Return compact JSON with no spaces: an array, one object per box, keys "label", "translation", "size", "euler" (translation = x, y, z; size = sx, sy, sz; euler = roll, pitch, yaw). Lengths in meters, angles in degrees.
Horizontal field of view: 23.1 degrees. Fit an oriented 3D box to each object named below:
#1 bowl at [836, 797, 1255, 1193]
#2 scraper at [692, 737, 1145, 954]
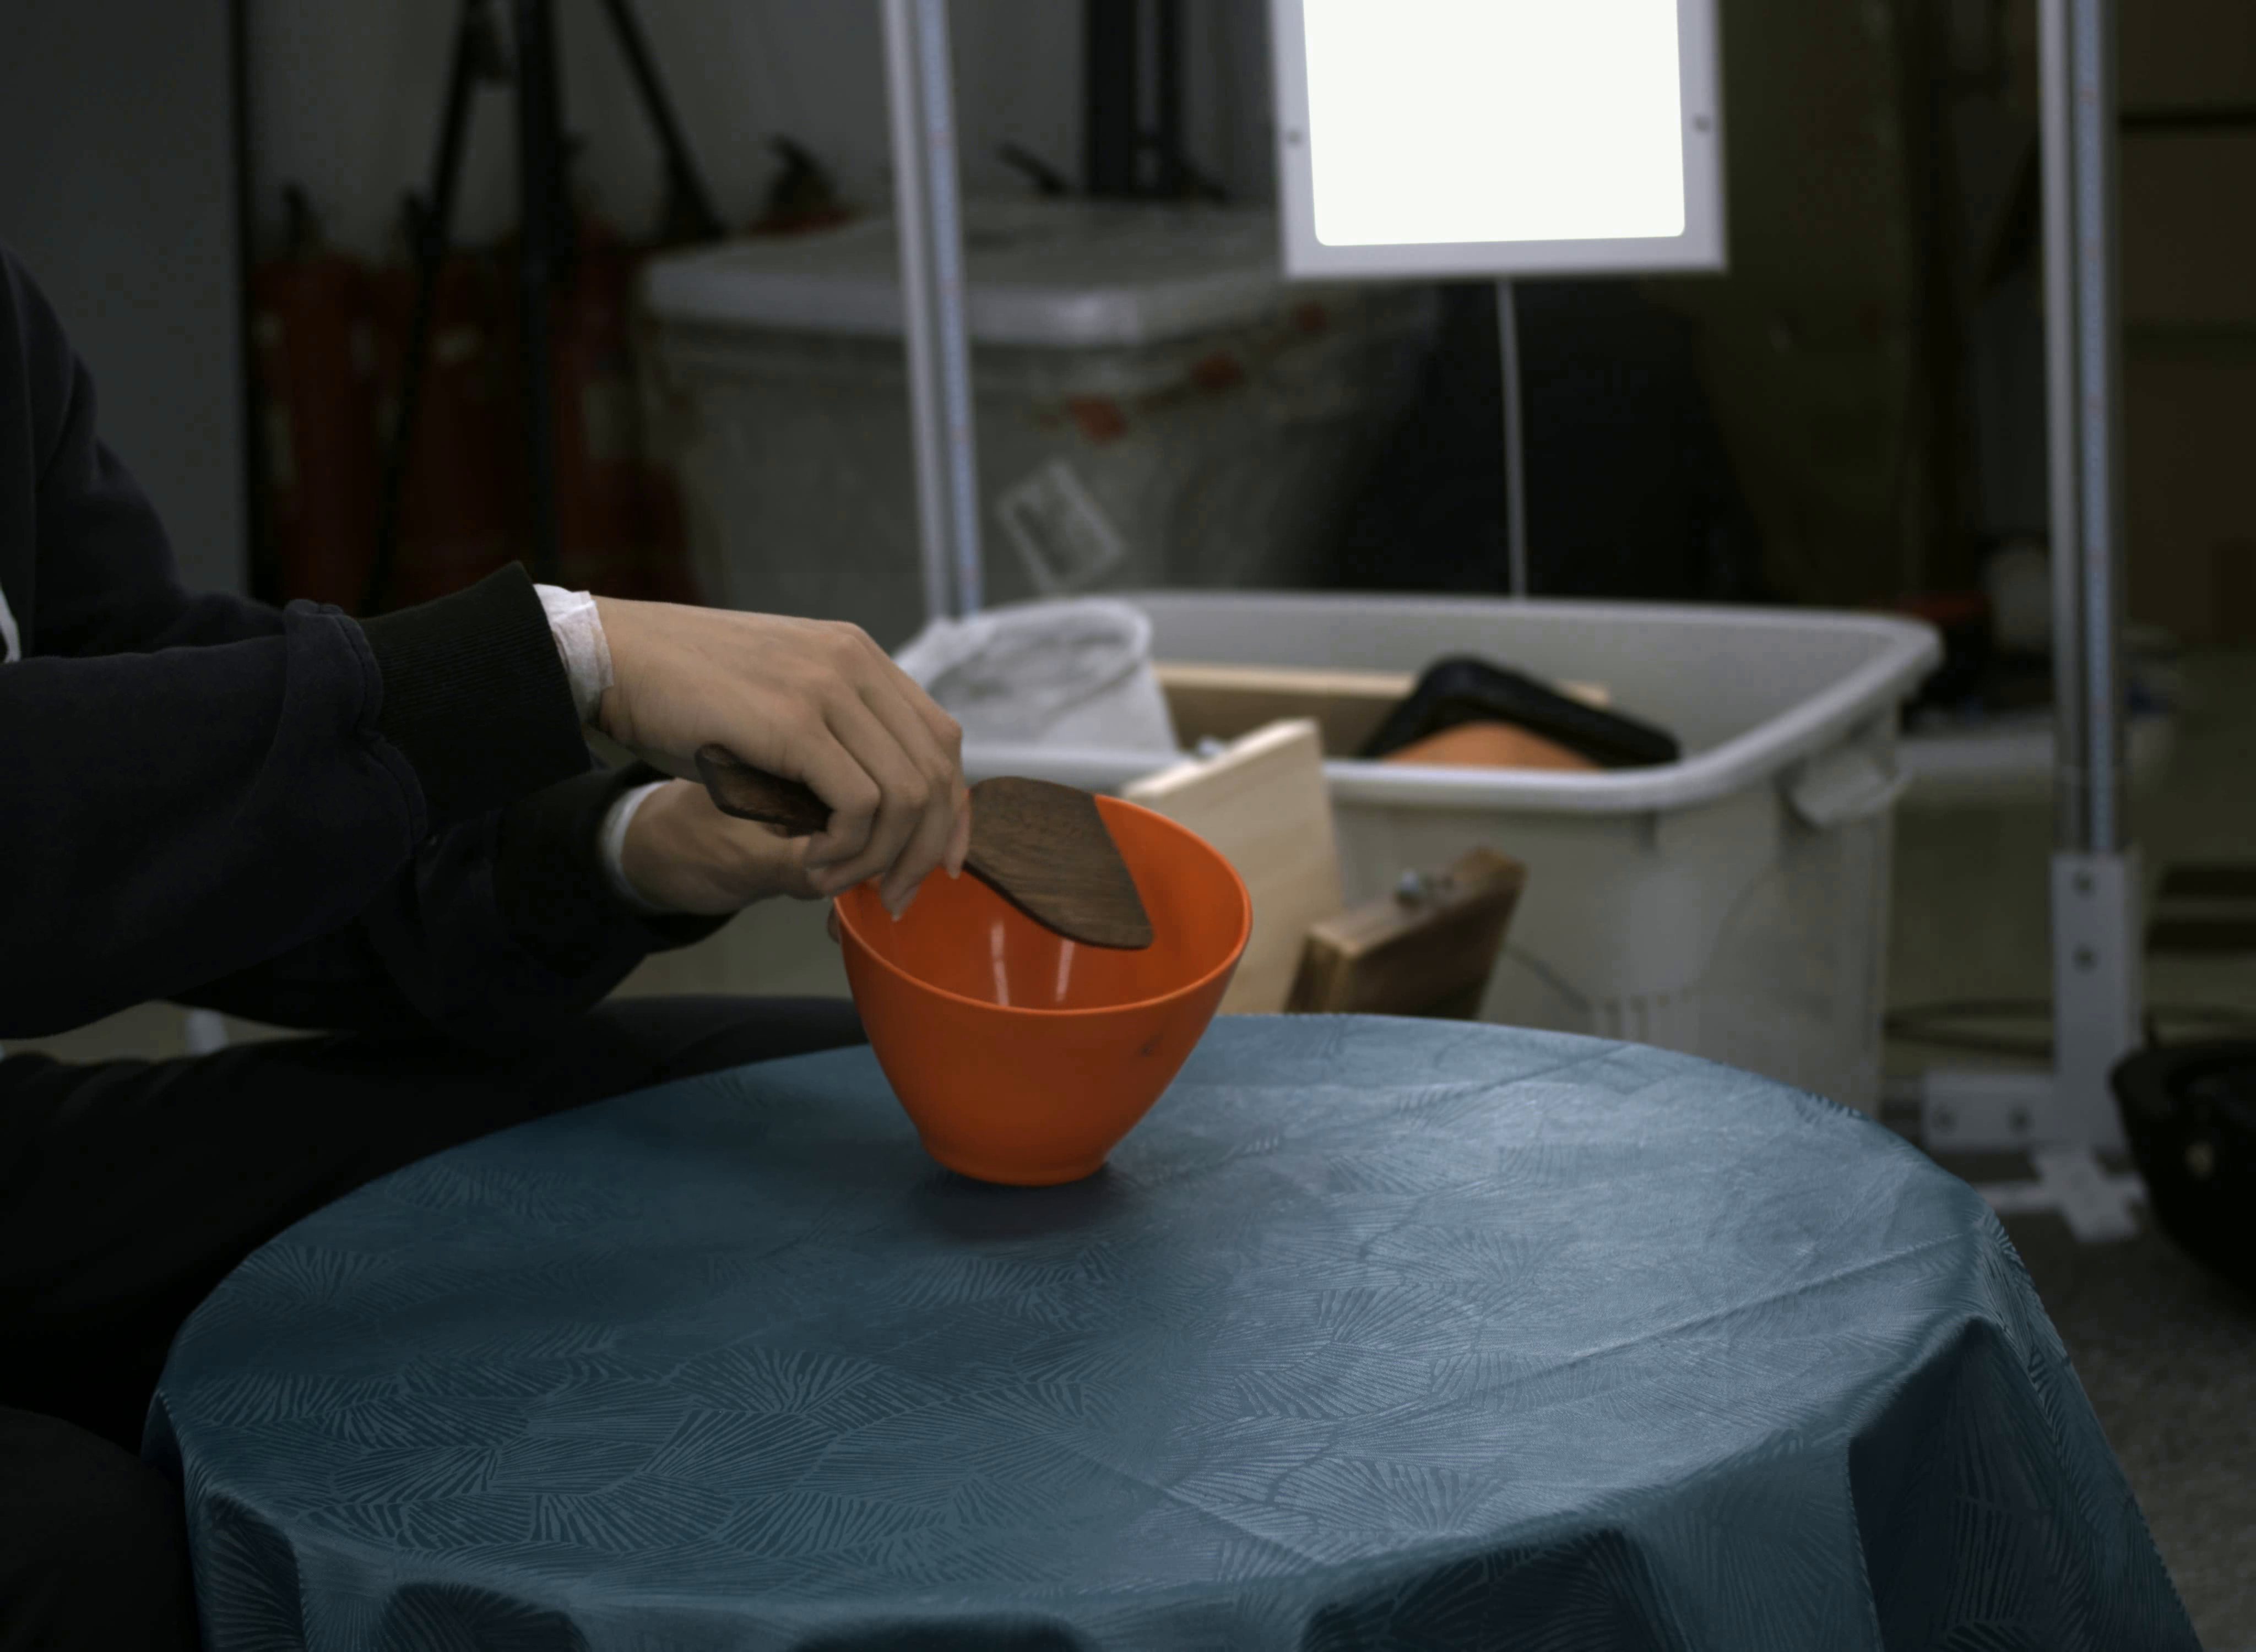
[{"label":"bowl","translation":[-0.033,0.063,1.928],"size":[0.147,0.105,0.148],"euler":[5,21,-3]},{"label":"scraper","translation":[-0.072,-0.001,1.864],"size":[0.011,0.076,0.206],"euler":[-41,-34,27]}]
